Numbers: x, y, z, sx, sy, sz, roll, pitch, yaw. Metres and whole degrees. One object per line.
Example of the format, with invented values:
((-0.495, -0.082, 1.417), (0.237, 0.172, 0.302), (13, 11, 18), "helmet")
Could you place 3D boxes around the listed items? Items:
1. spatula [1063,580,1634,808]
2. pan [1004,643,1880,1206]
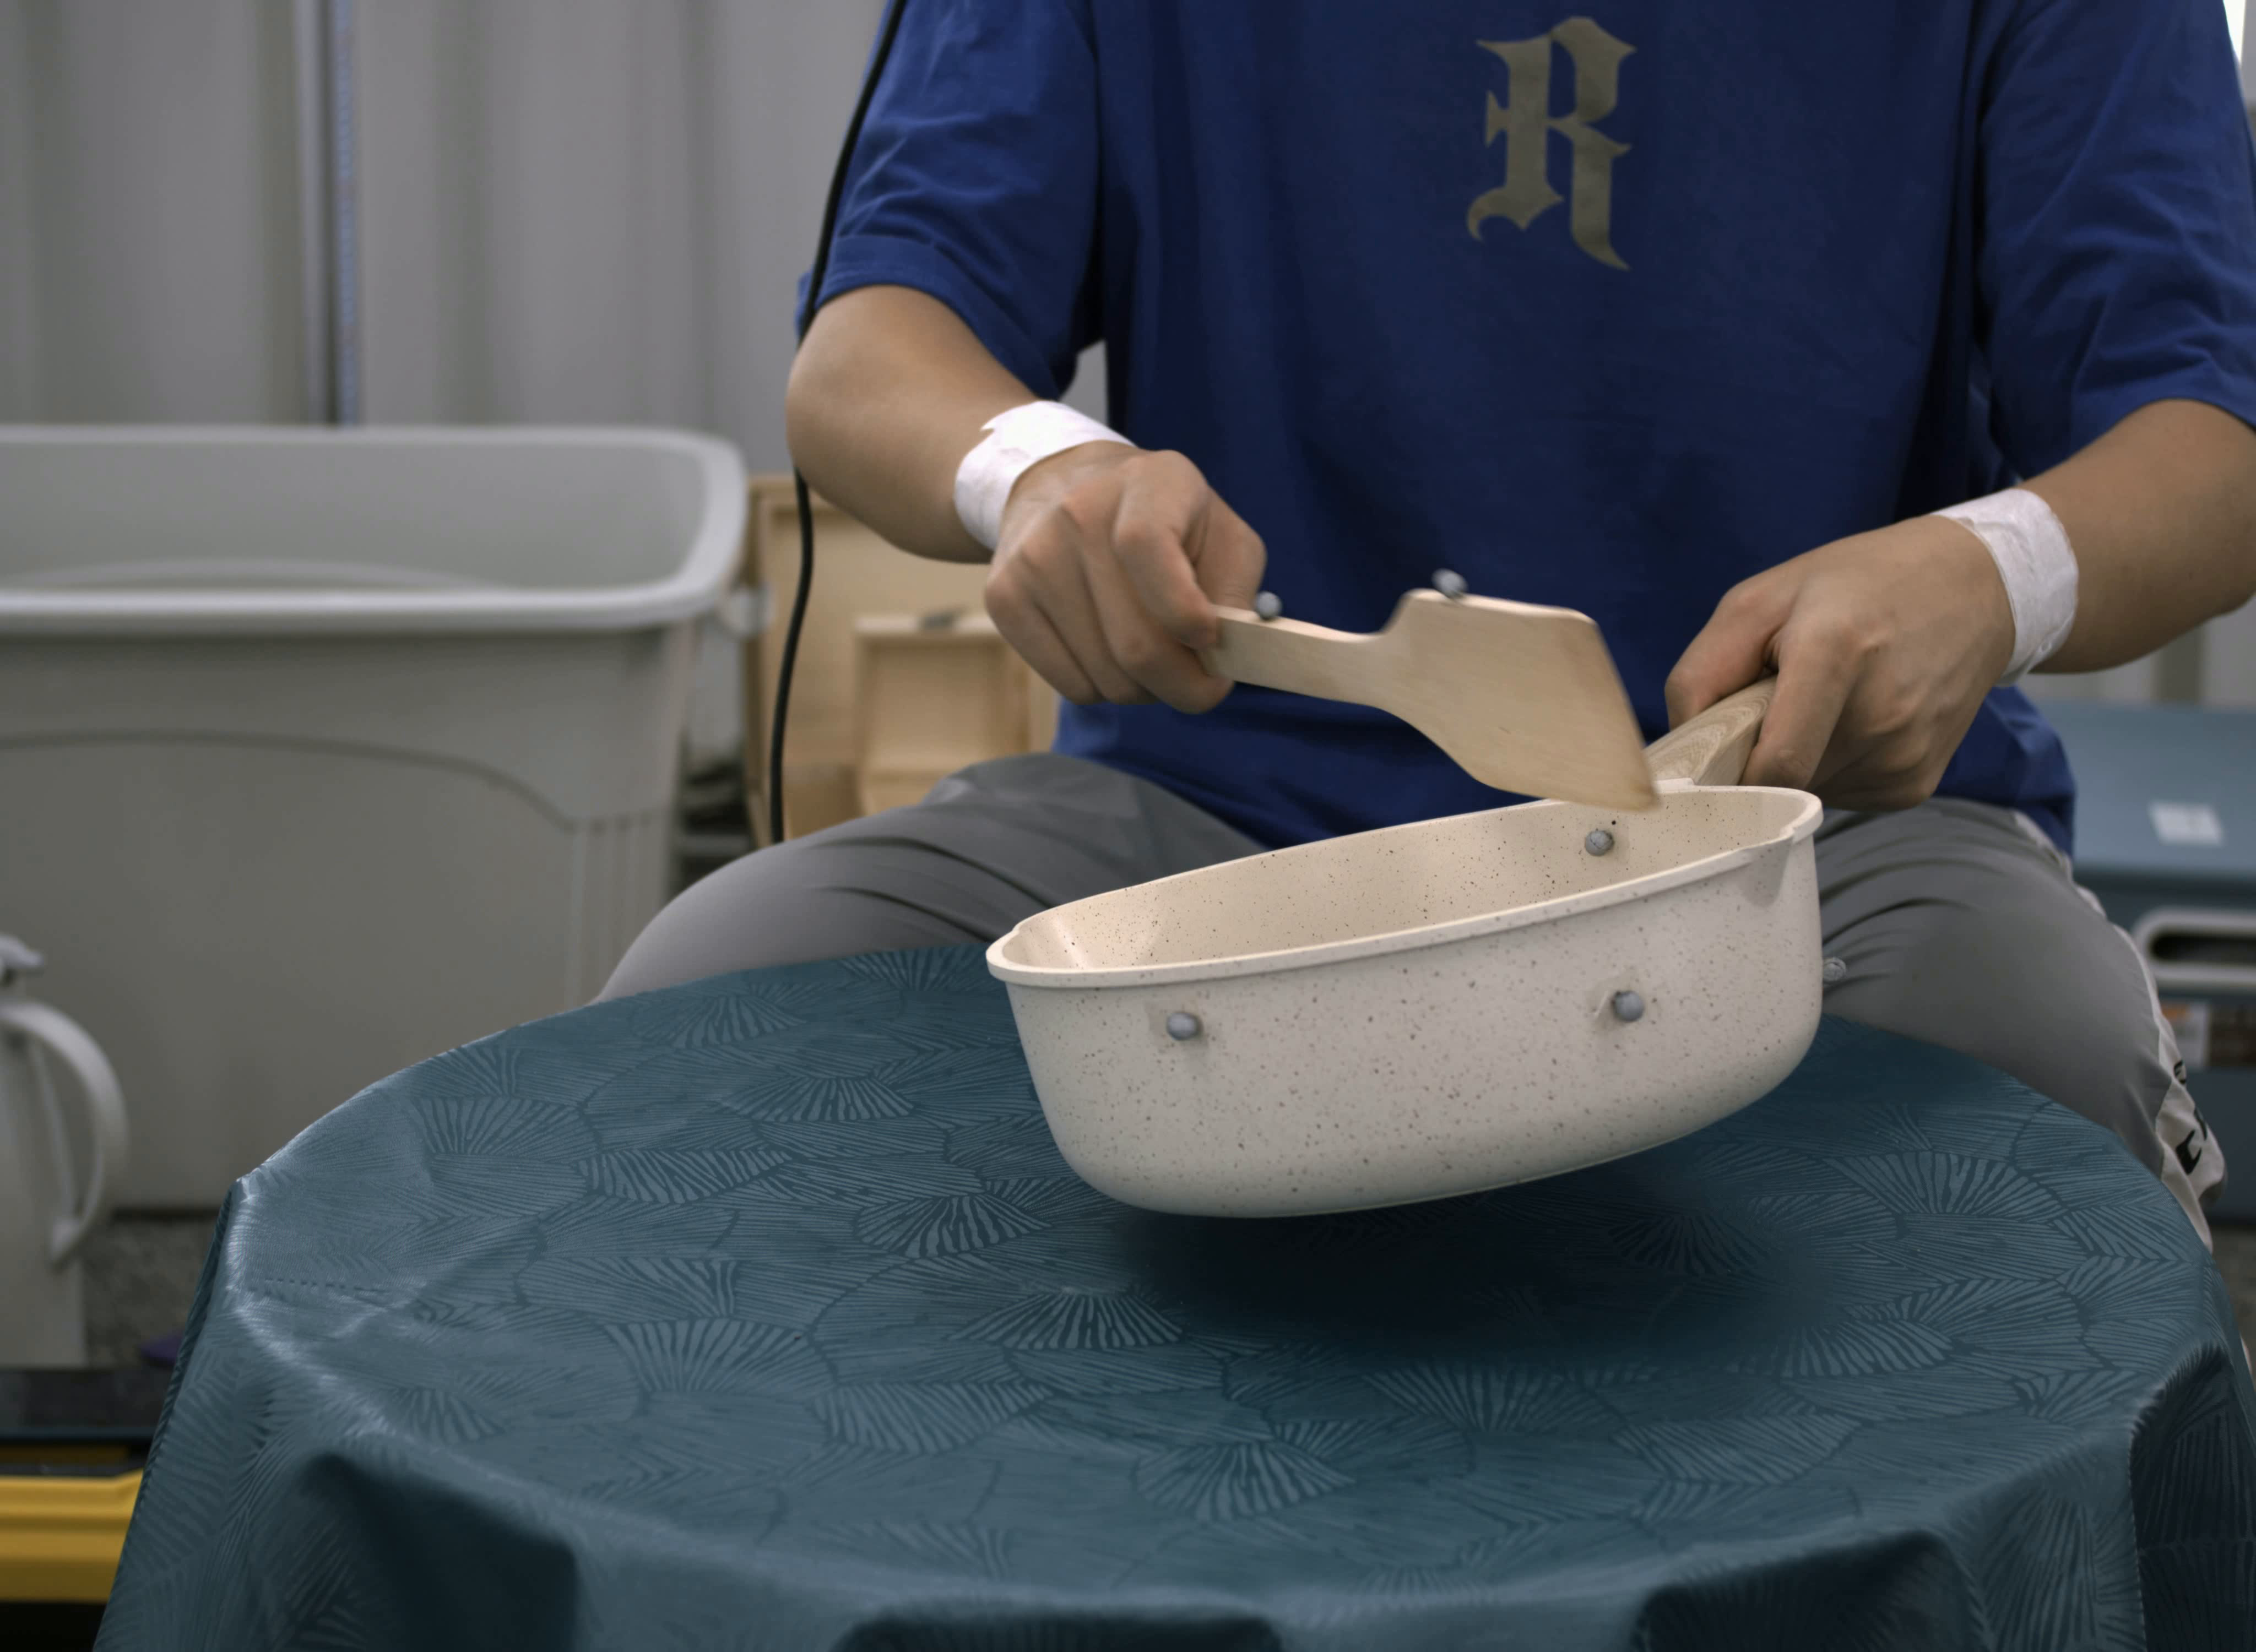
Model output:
((0.060, -0.054, 1.688), (0.010, 0.073, 0.289), (-35, 25, -24), "spatula")
((0.141, 0.026, 1.632), (0.261, 0.102, 0.437), (-8, 6, 34), "pan")
